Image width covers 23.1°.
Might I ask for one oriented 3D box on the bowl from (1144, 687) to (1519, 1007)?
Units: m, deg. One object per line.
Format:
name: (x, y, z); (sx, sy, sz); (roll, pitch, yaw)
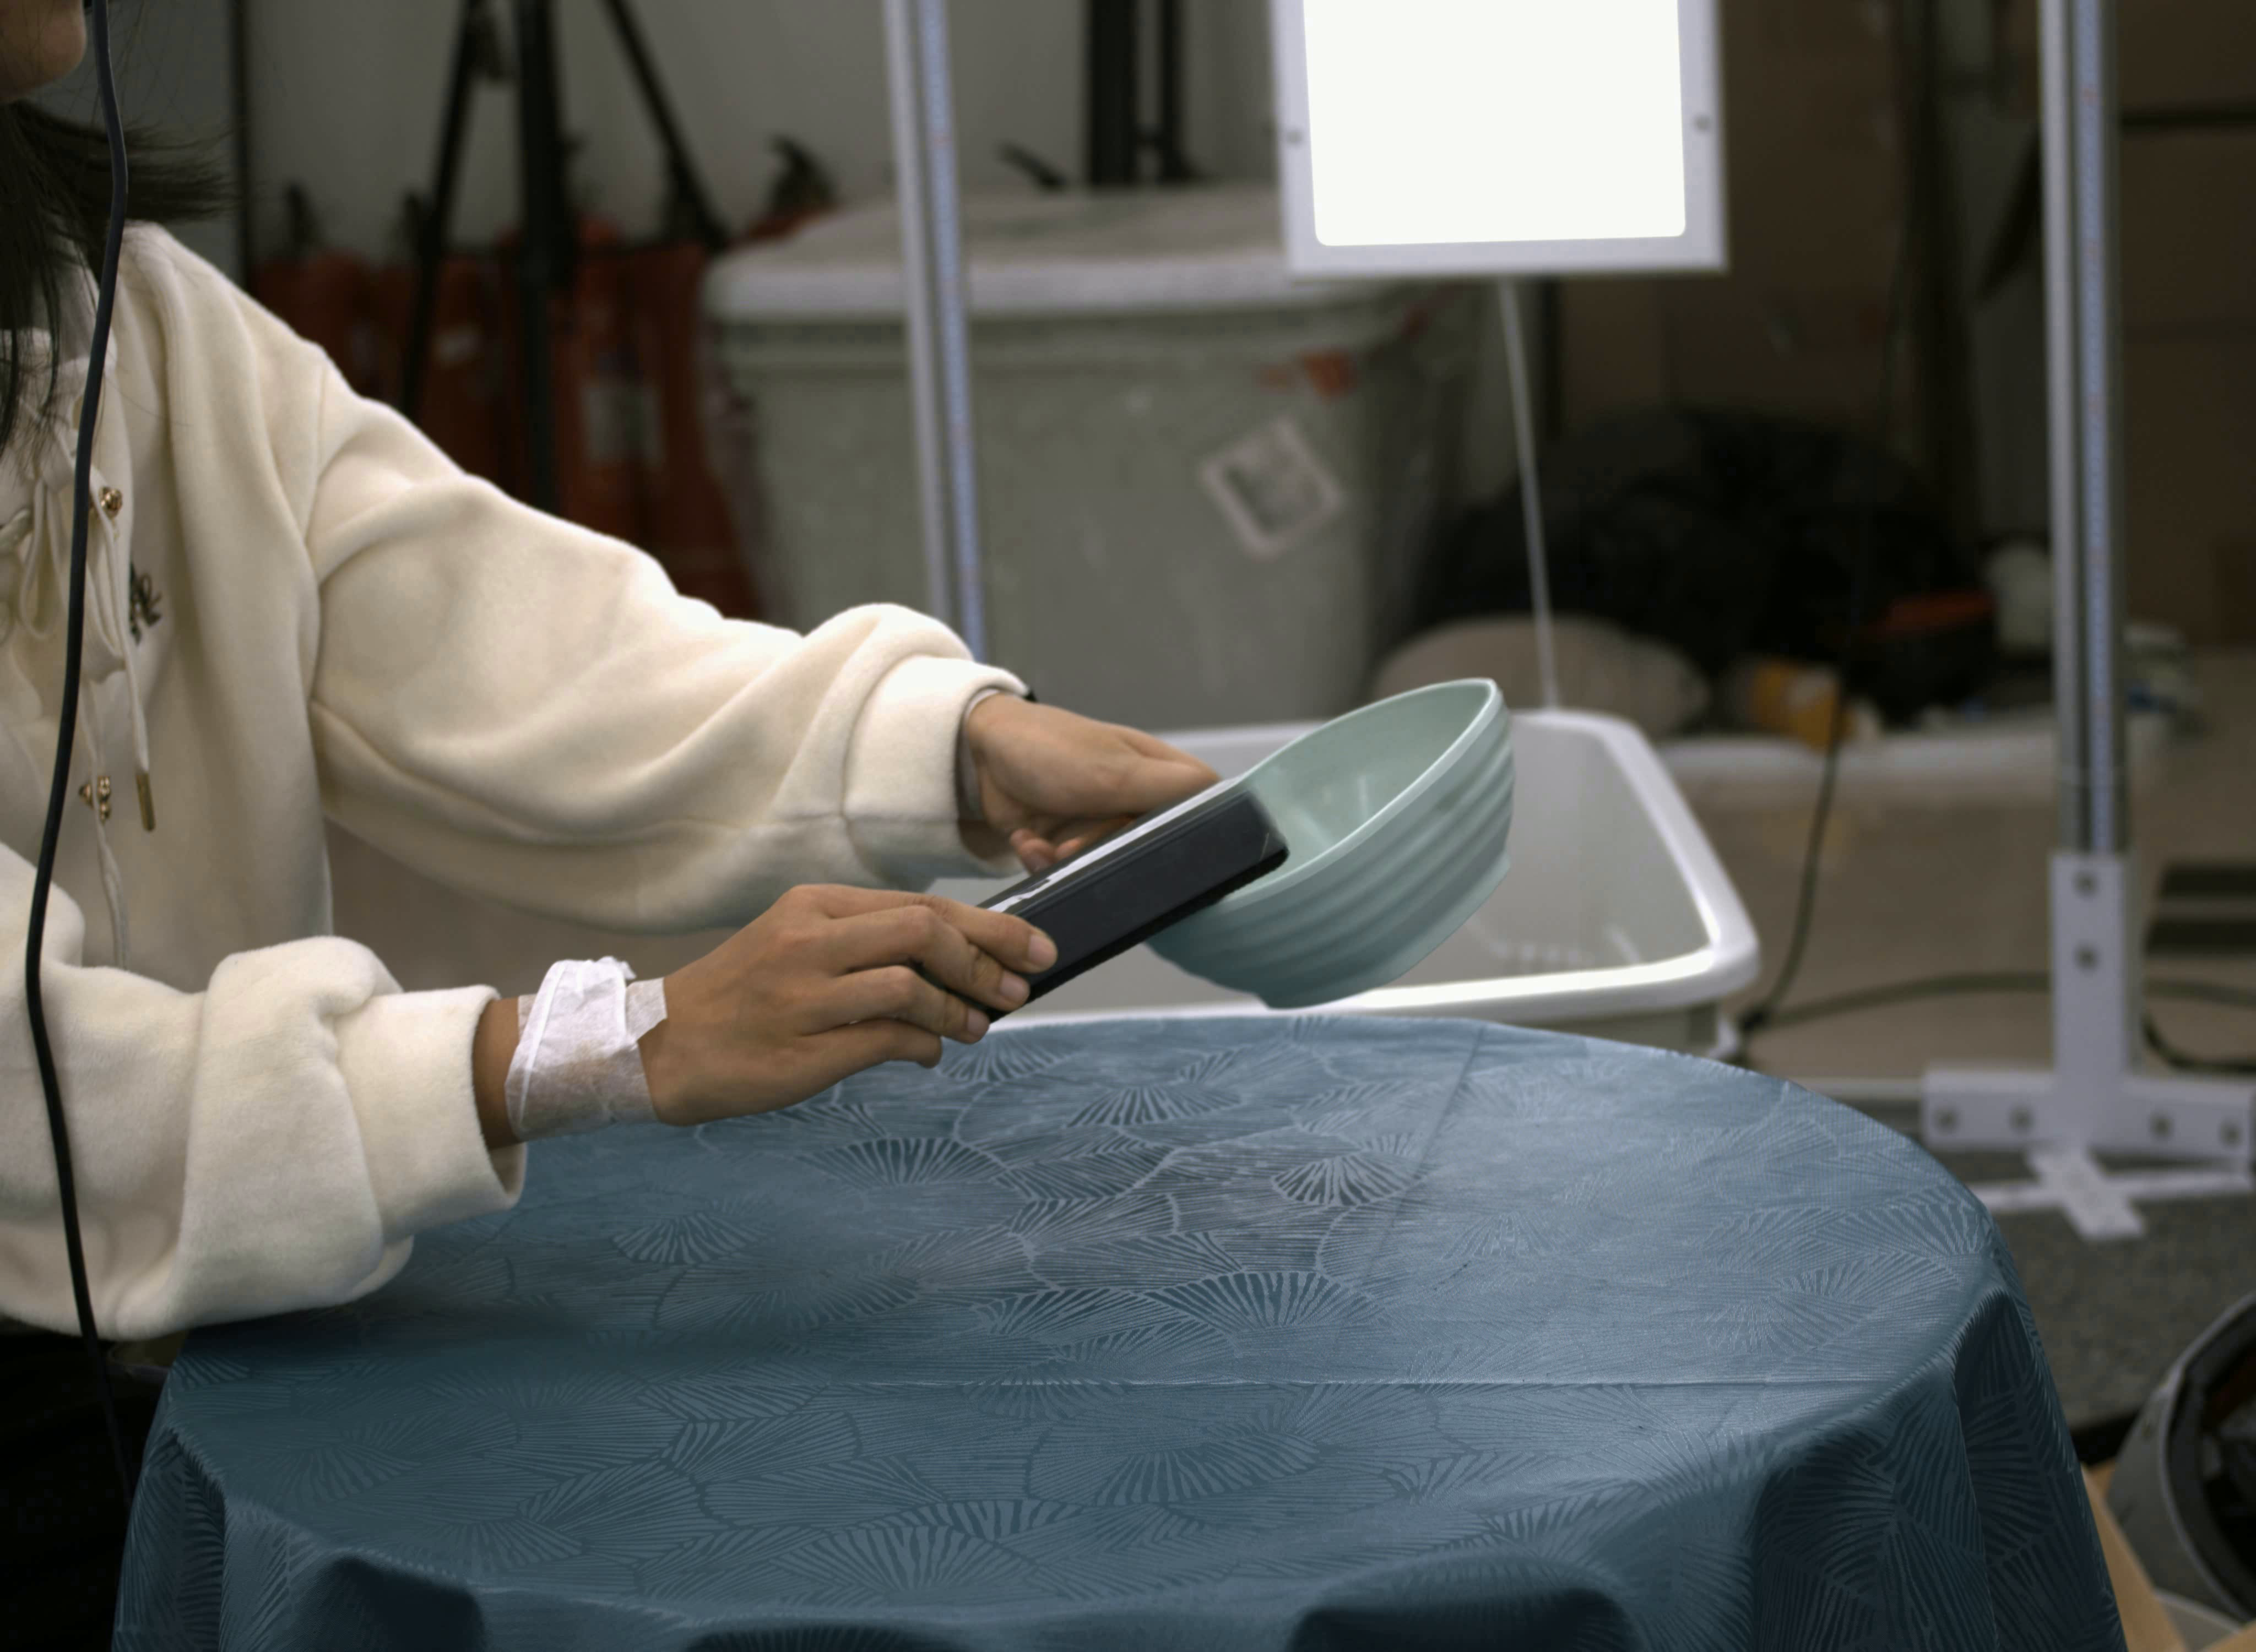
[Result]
bowl: (0.074, 0.014, 1.857); (0.152, 0.058, 0.151); (-29, 13, 5)

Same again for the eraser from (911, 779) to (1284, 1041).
eraser: (-0.010, 0.026, 1.816); (0.124, 0.030, 0.054); (-31, 10, -7)
